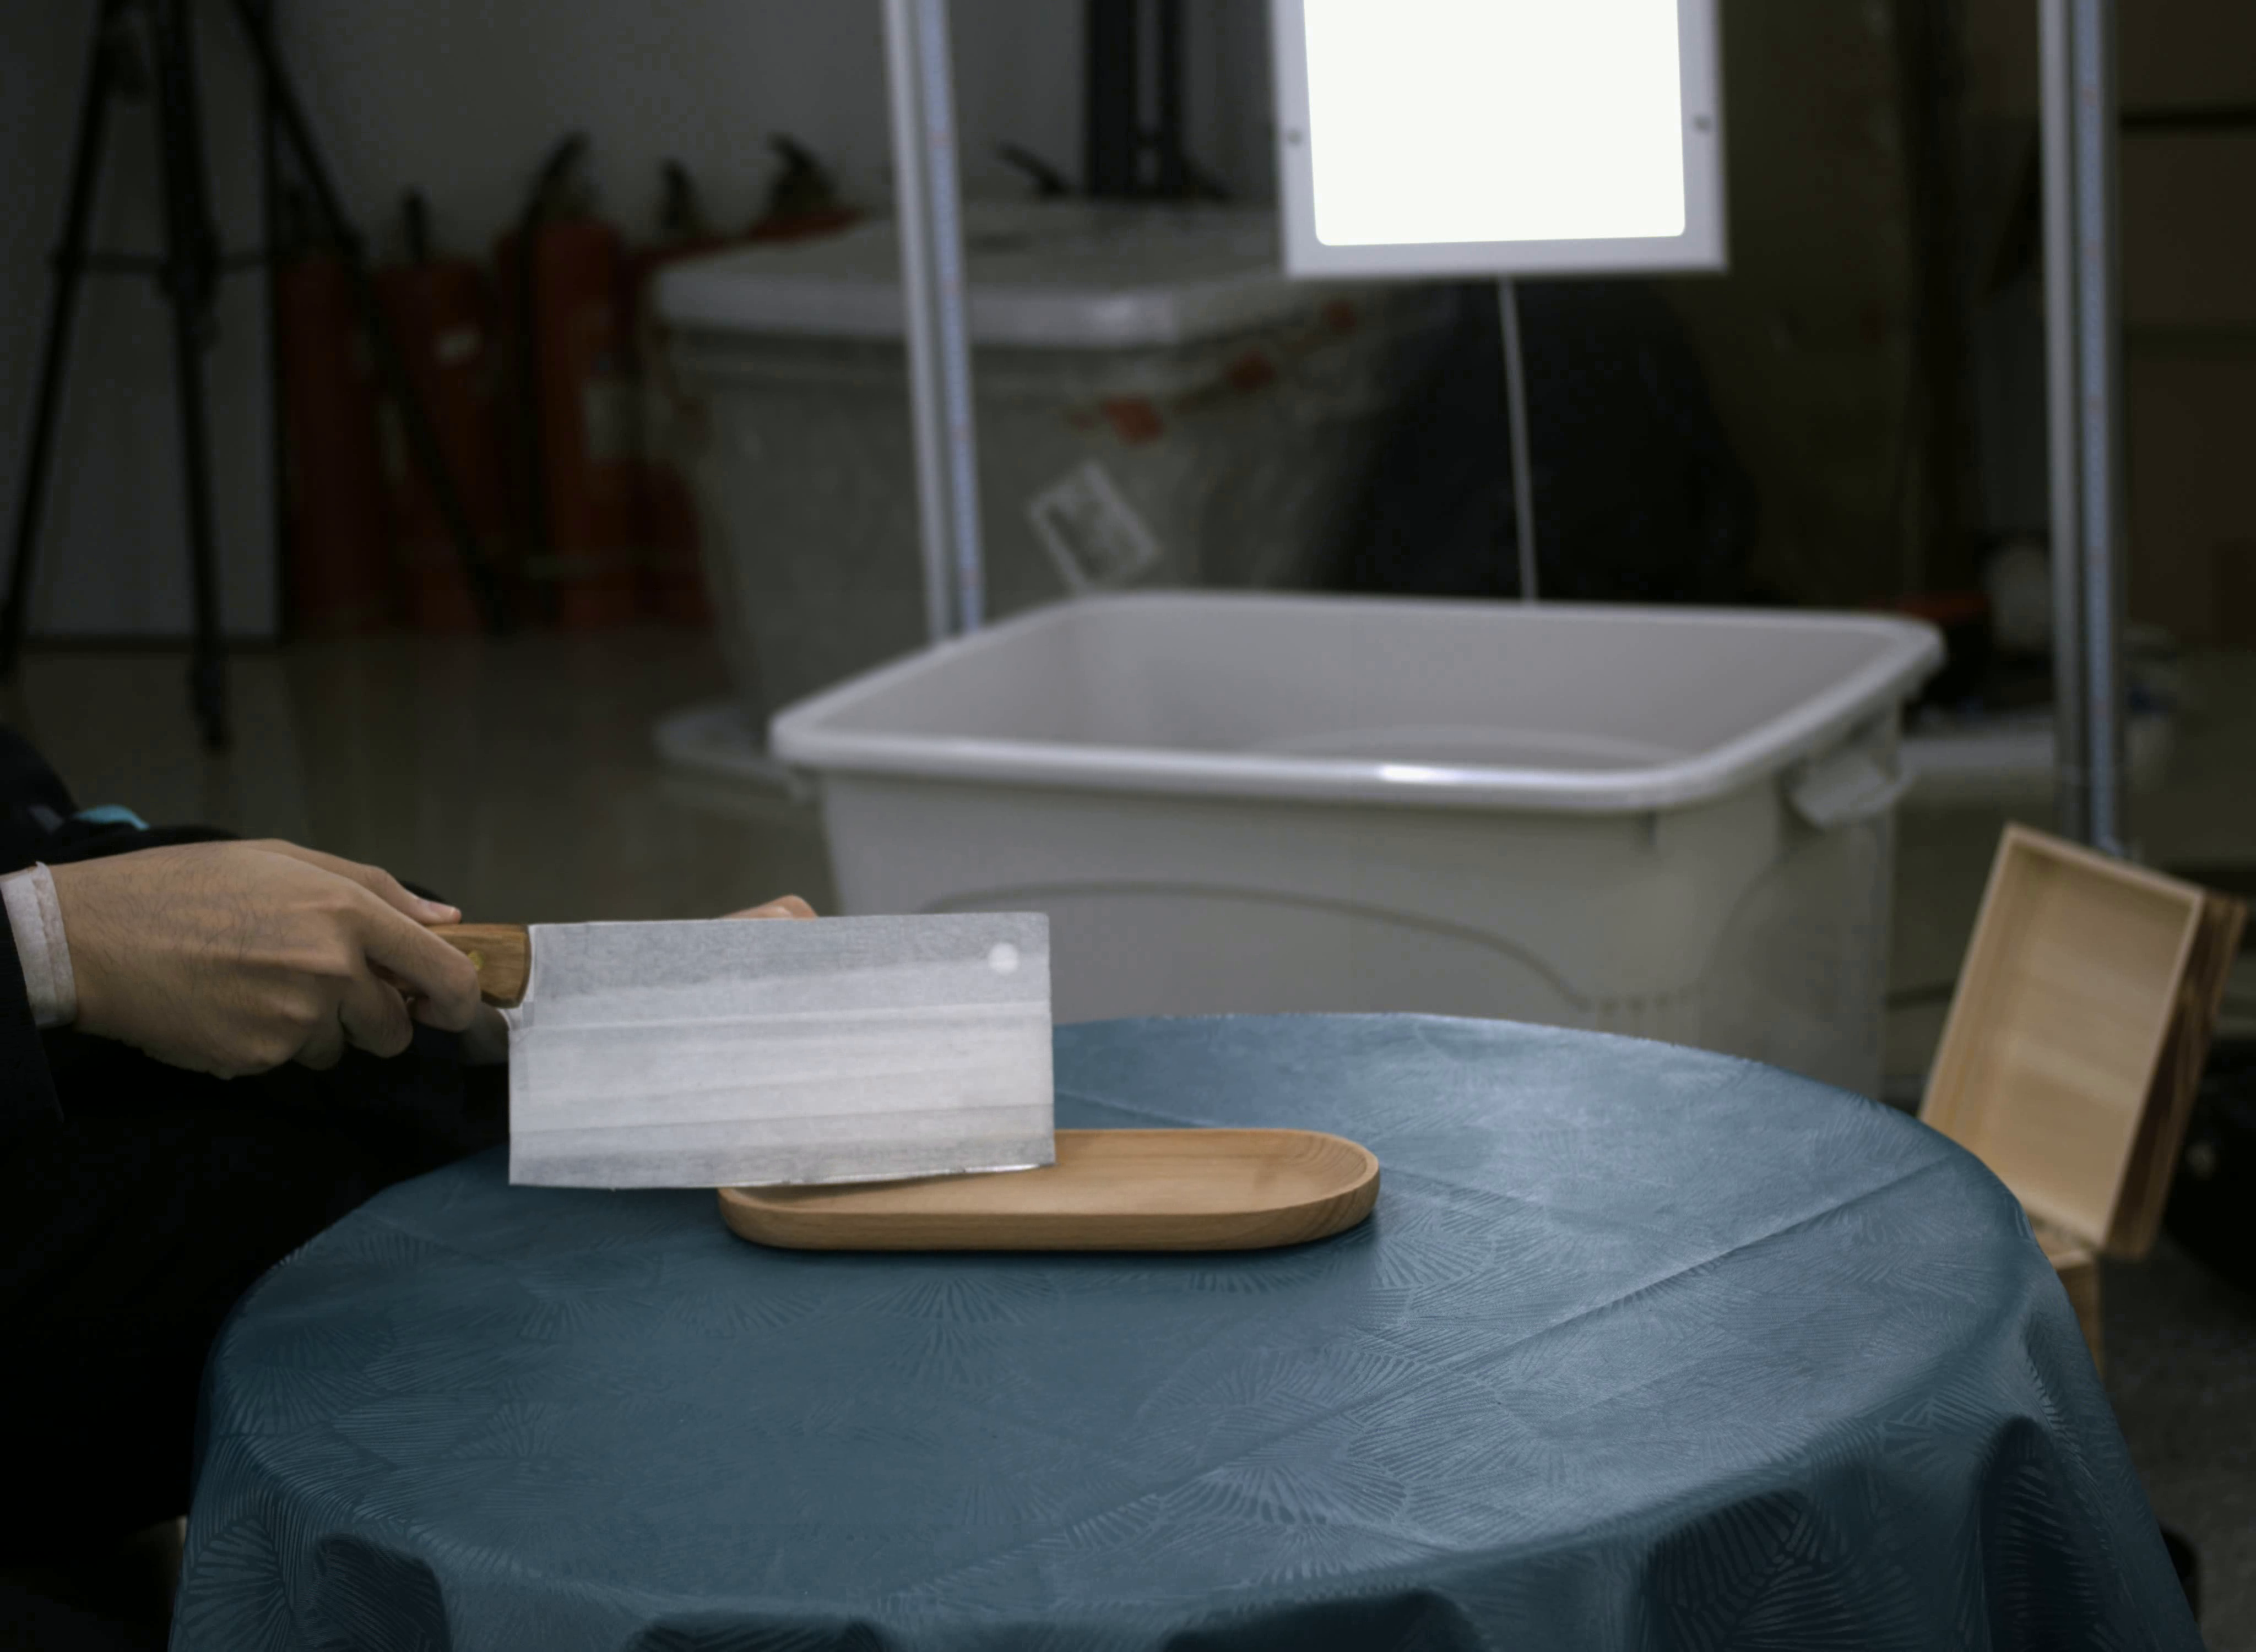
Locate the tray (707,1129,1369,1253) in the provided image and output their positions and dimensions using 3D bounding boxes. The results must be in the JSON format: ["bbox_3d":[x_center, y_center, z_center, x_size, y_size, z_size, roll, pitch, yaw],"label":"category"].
[{"bbox_3d":[-0.031,0.125,1.879,0.233,0.020,0.100,-2,12,17],"label":"tray"}]

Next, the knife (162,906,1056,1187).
[{"bbox_3d":[-0.175,0.076,1.885,0.302,0.093,0.021,-2,-1,-9],"label":"knife"}]
